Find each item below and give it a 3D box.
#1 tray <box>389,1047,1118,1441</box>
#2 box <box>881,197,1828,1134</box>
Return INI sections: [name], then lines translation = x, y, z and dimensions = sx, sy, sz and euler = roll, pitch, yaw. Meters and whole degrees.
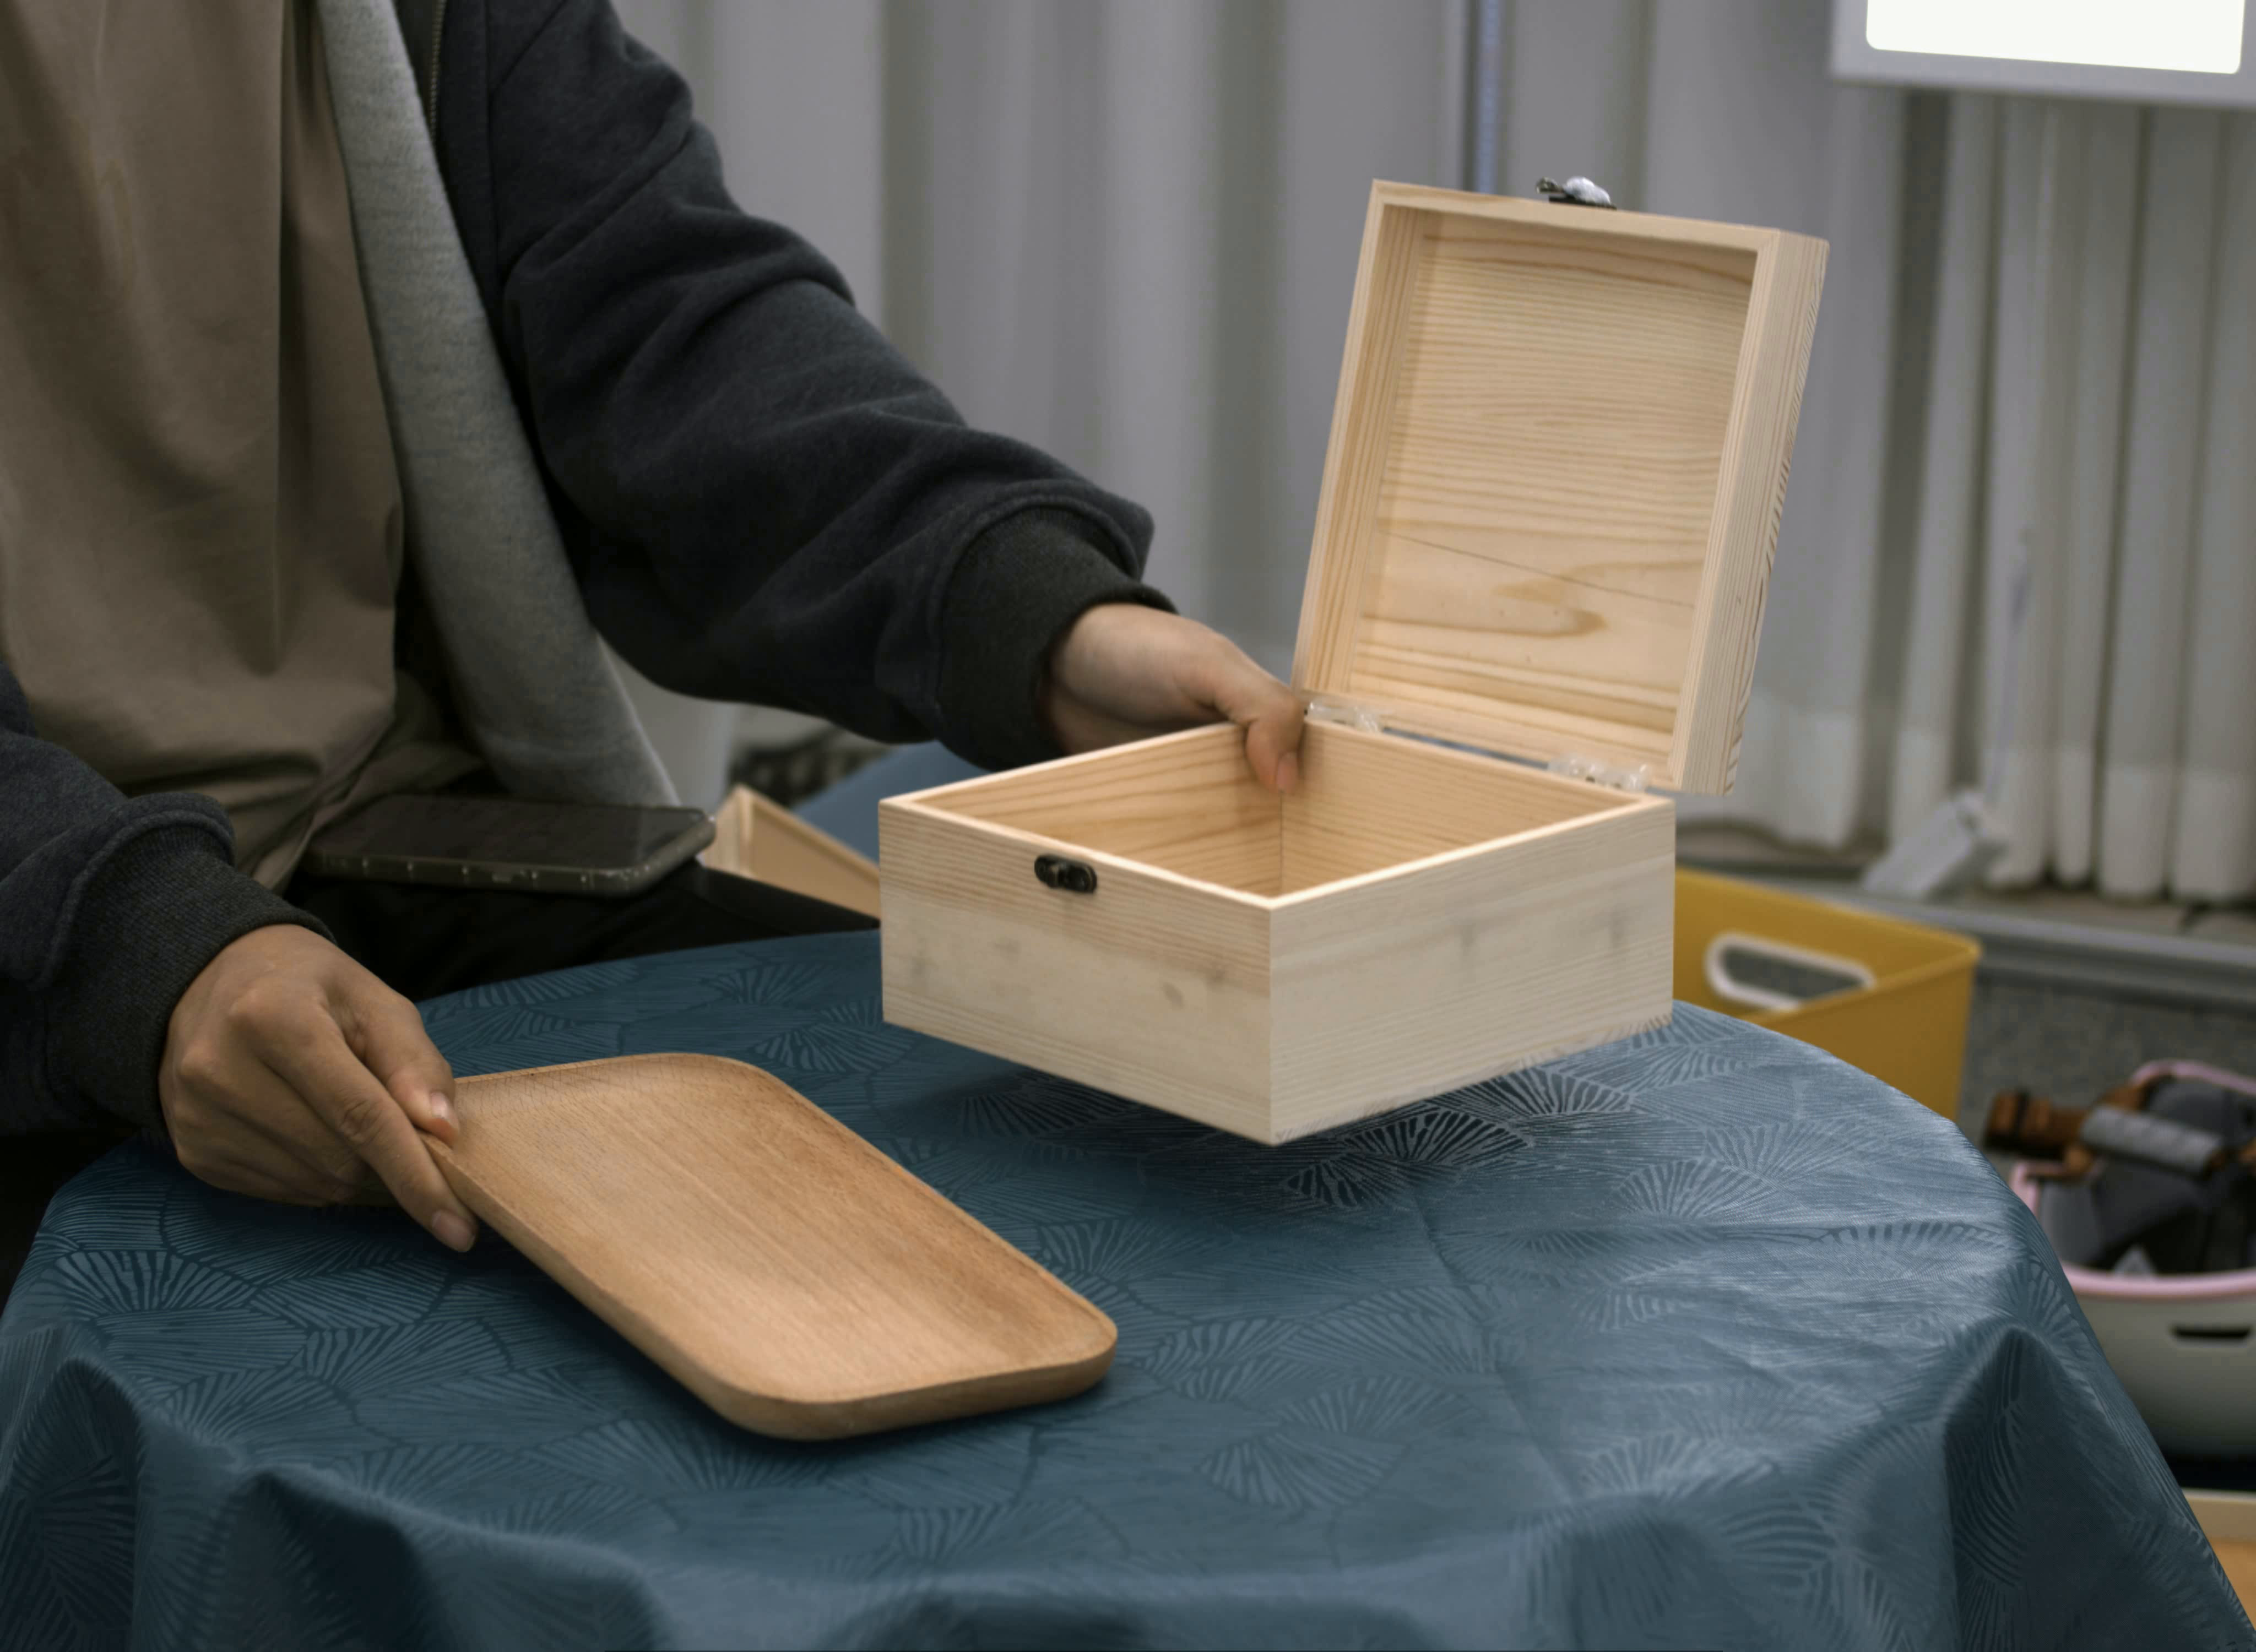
[tray]
translation = -0.113, 0.117, 1.523
dimensions = 0.131, 0.023, 0.247
euler = -3, 19, -33
[box]
translation = 0.071, -0.063, 1.685
dimensions = 0.266, 0.255, 0.179
euler = -13, 17, -42
